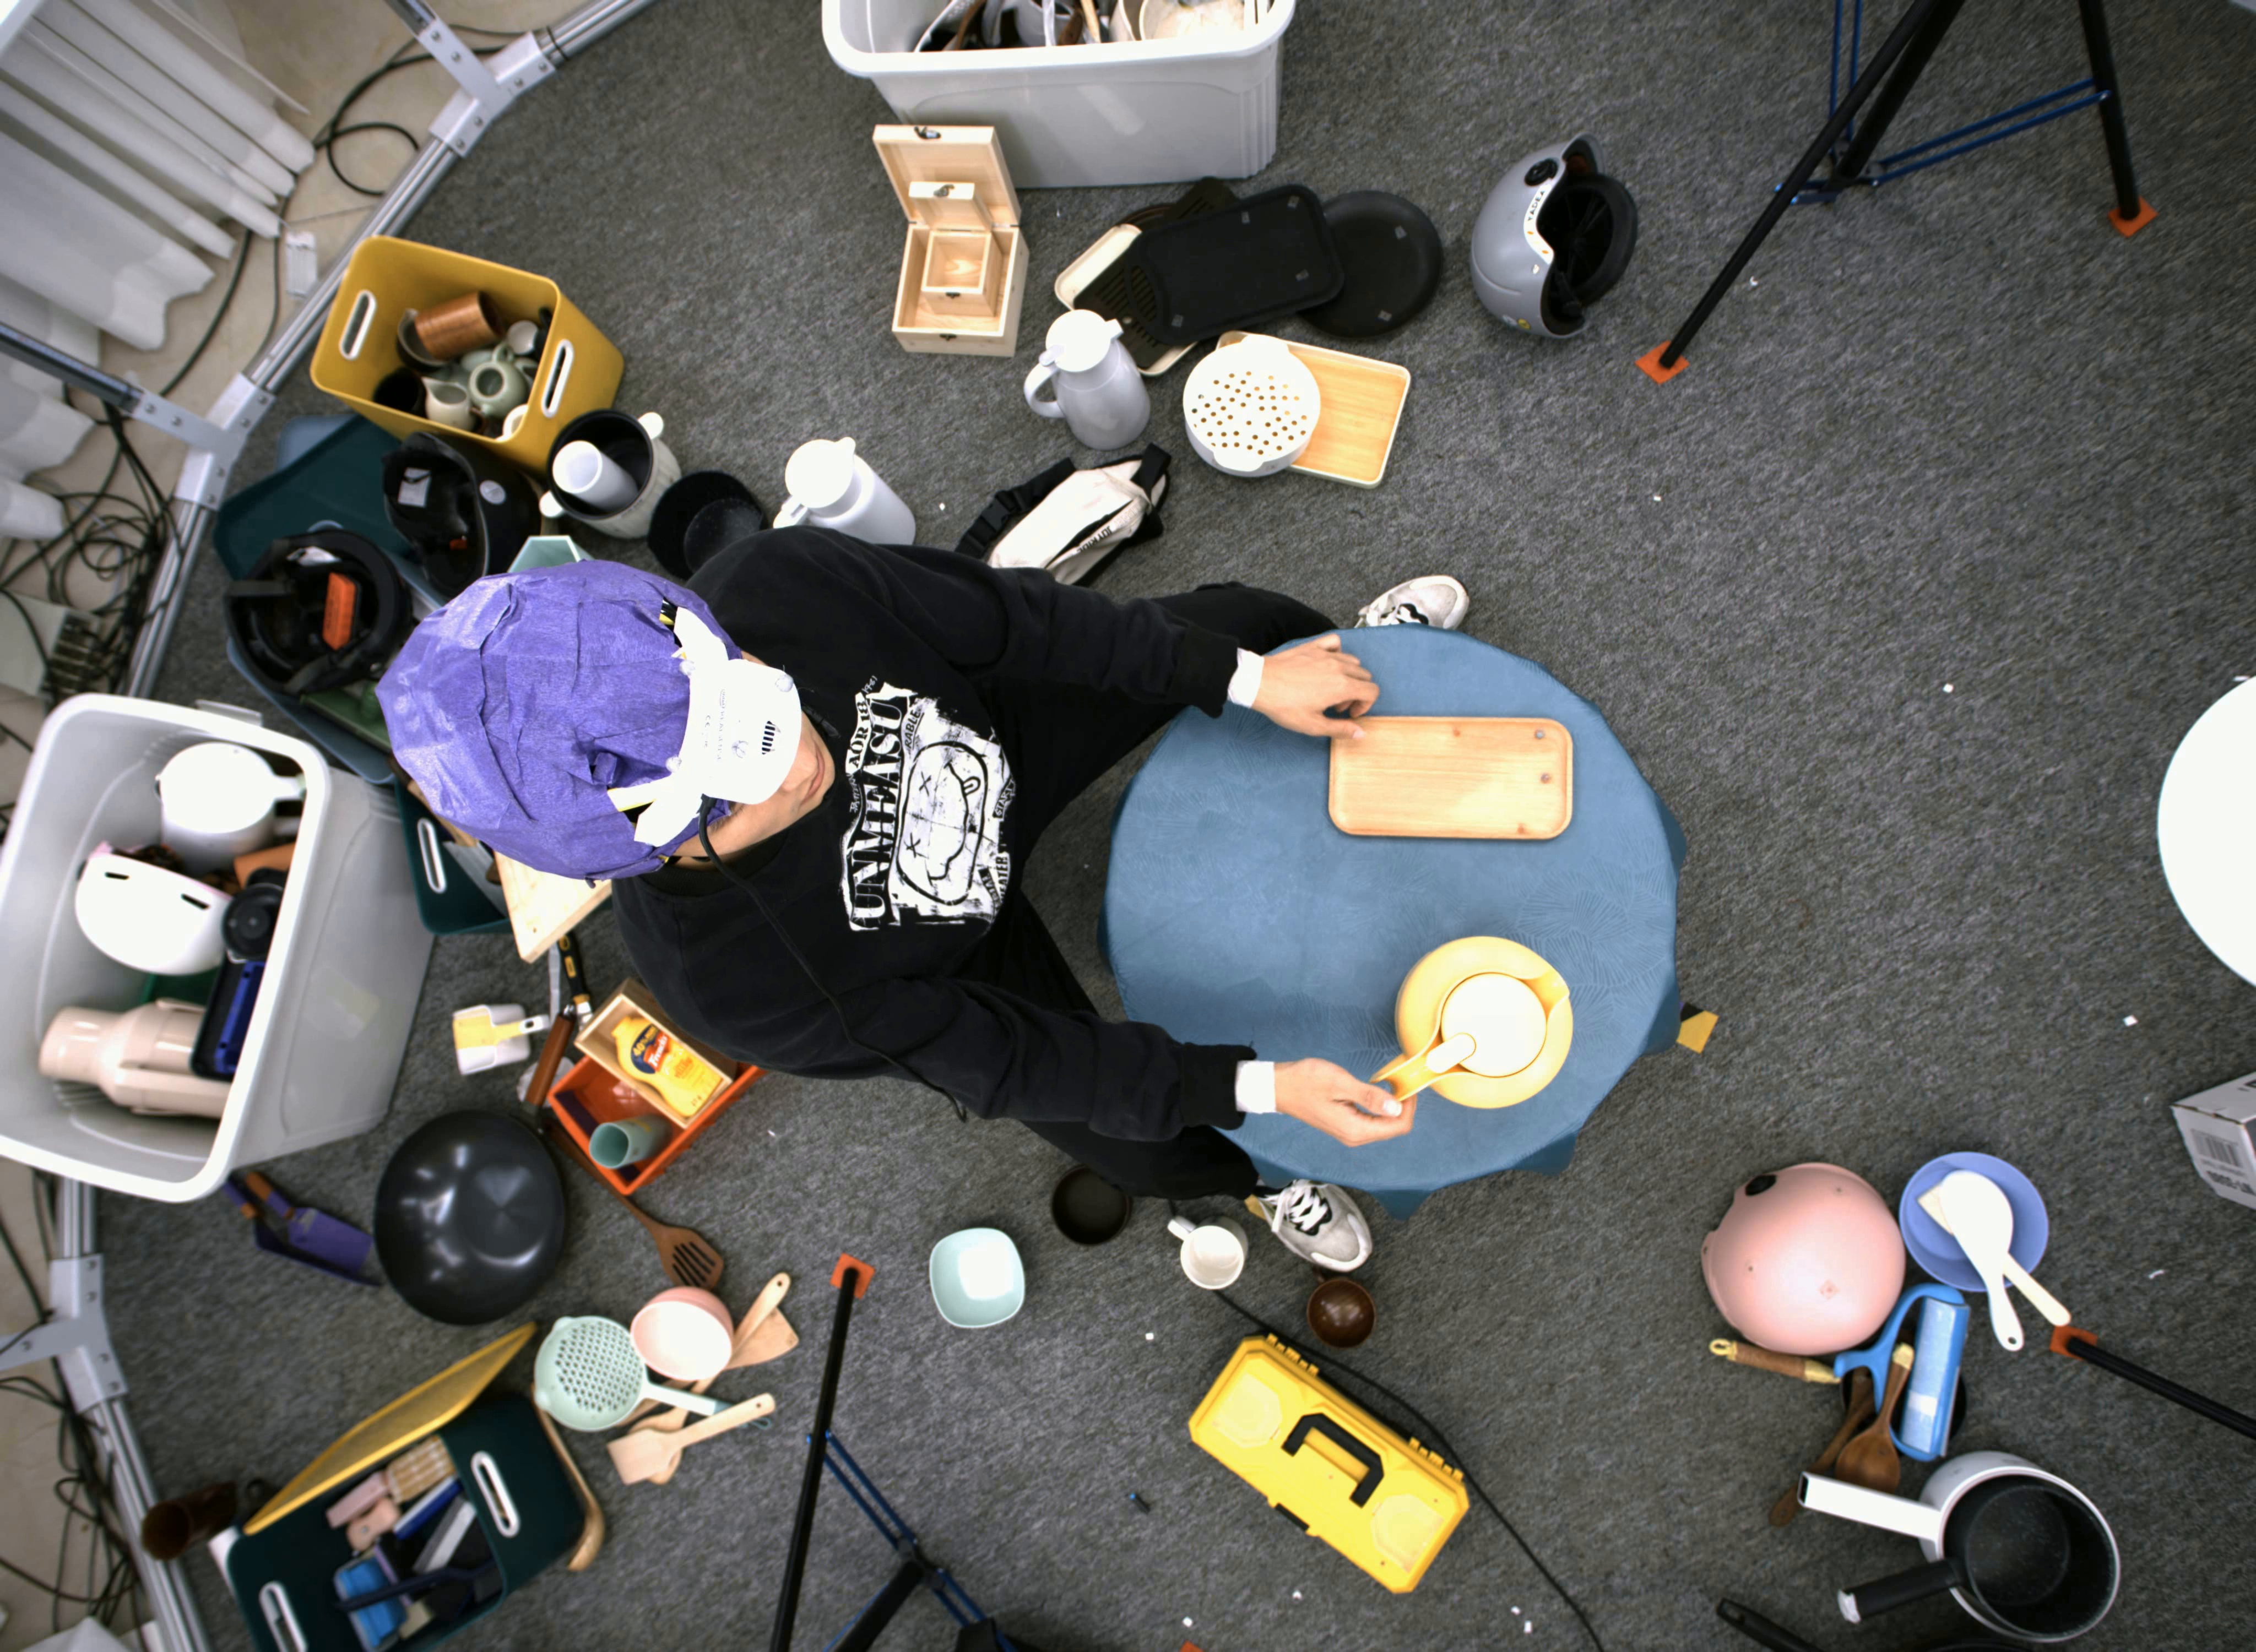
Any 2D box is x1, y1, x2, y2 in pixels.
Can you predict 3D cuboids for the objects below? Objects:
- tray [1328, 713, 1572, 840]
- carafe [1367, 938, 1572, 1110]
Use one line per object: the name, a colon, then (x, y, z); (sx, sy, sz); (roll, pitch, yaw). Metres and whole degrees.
tray: (0.337, -0.054, 1.446); (0.251, 0.023, 0.130); (2, 85, 12)
carafe: (0.319, 0.194, 1.313); (0.203, 0.261, 0.162); (-31, 78, 5)
